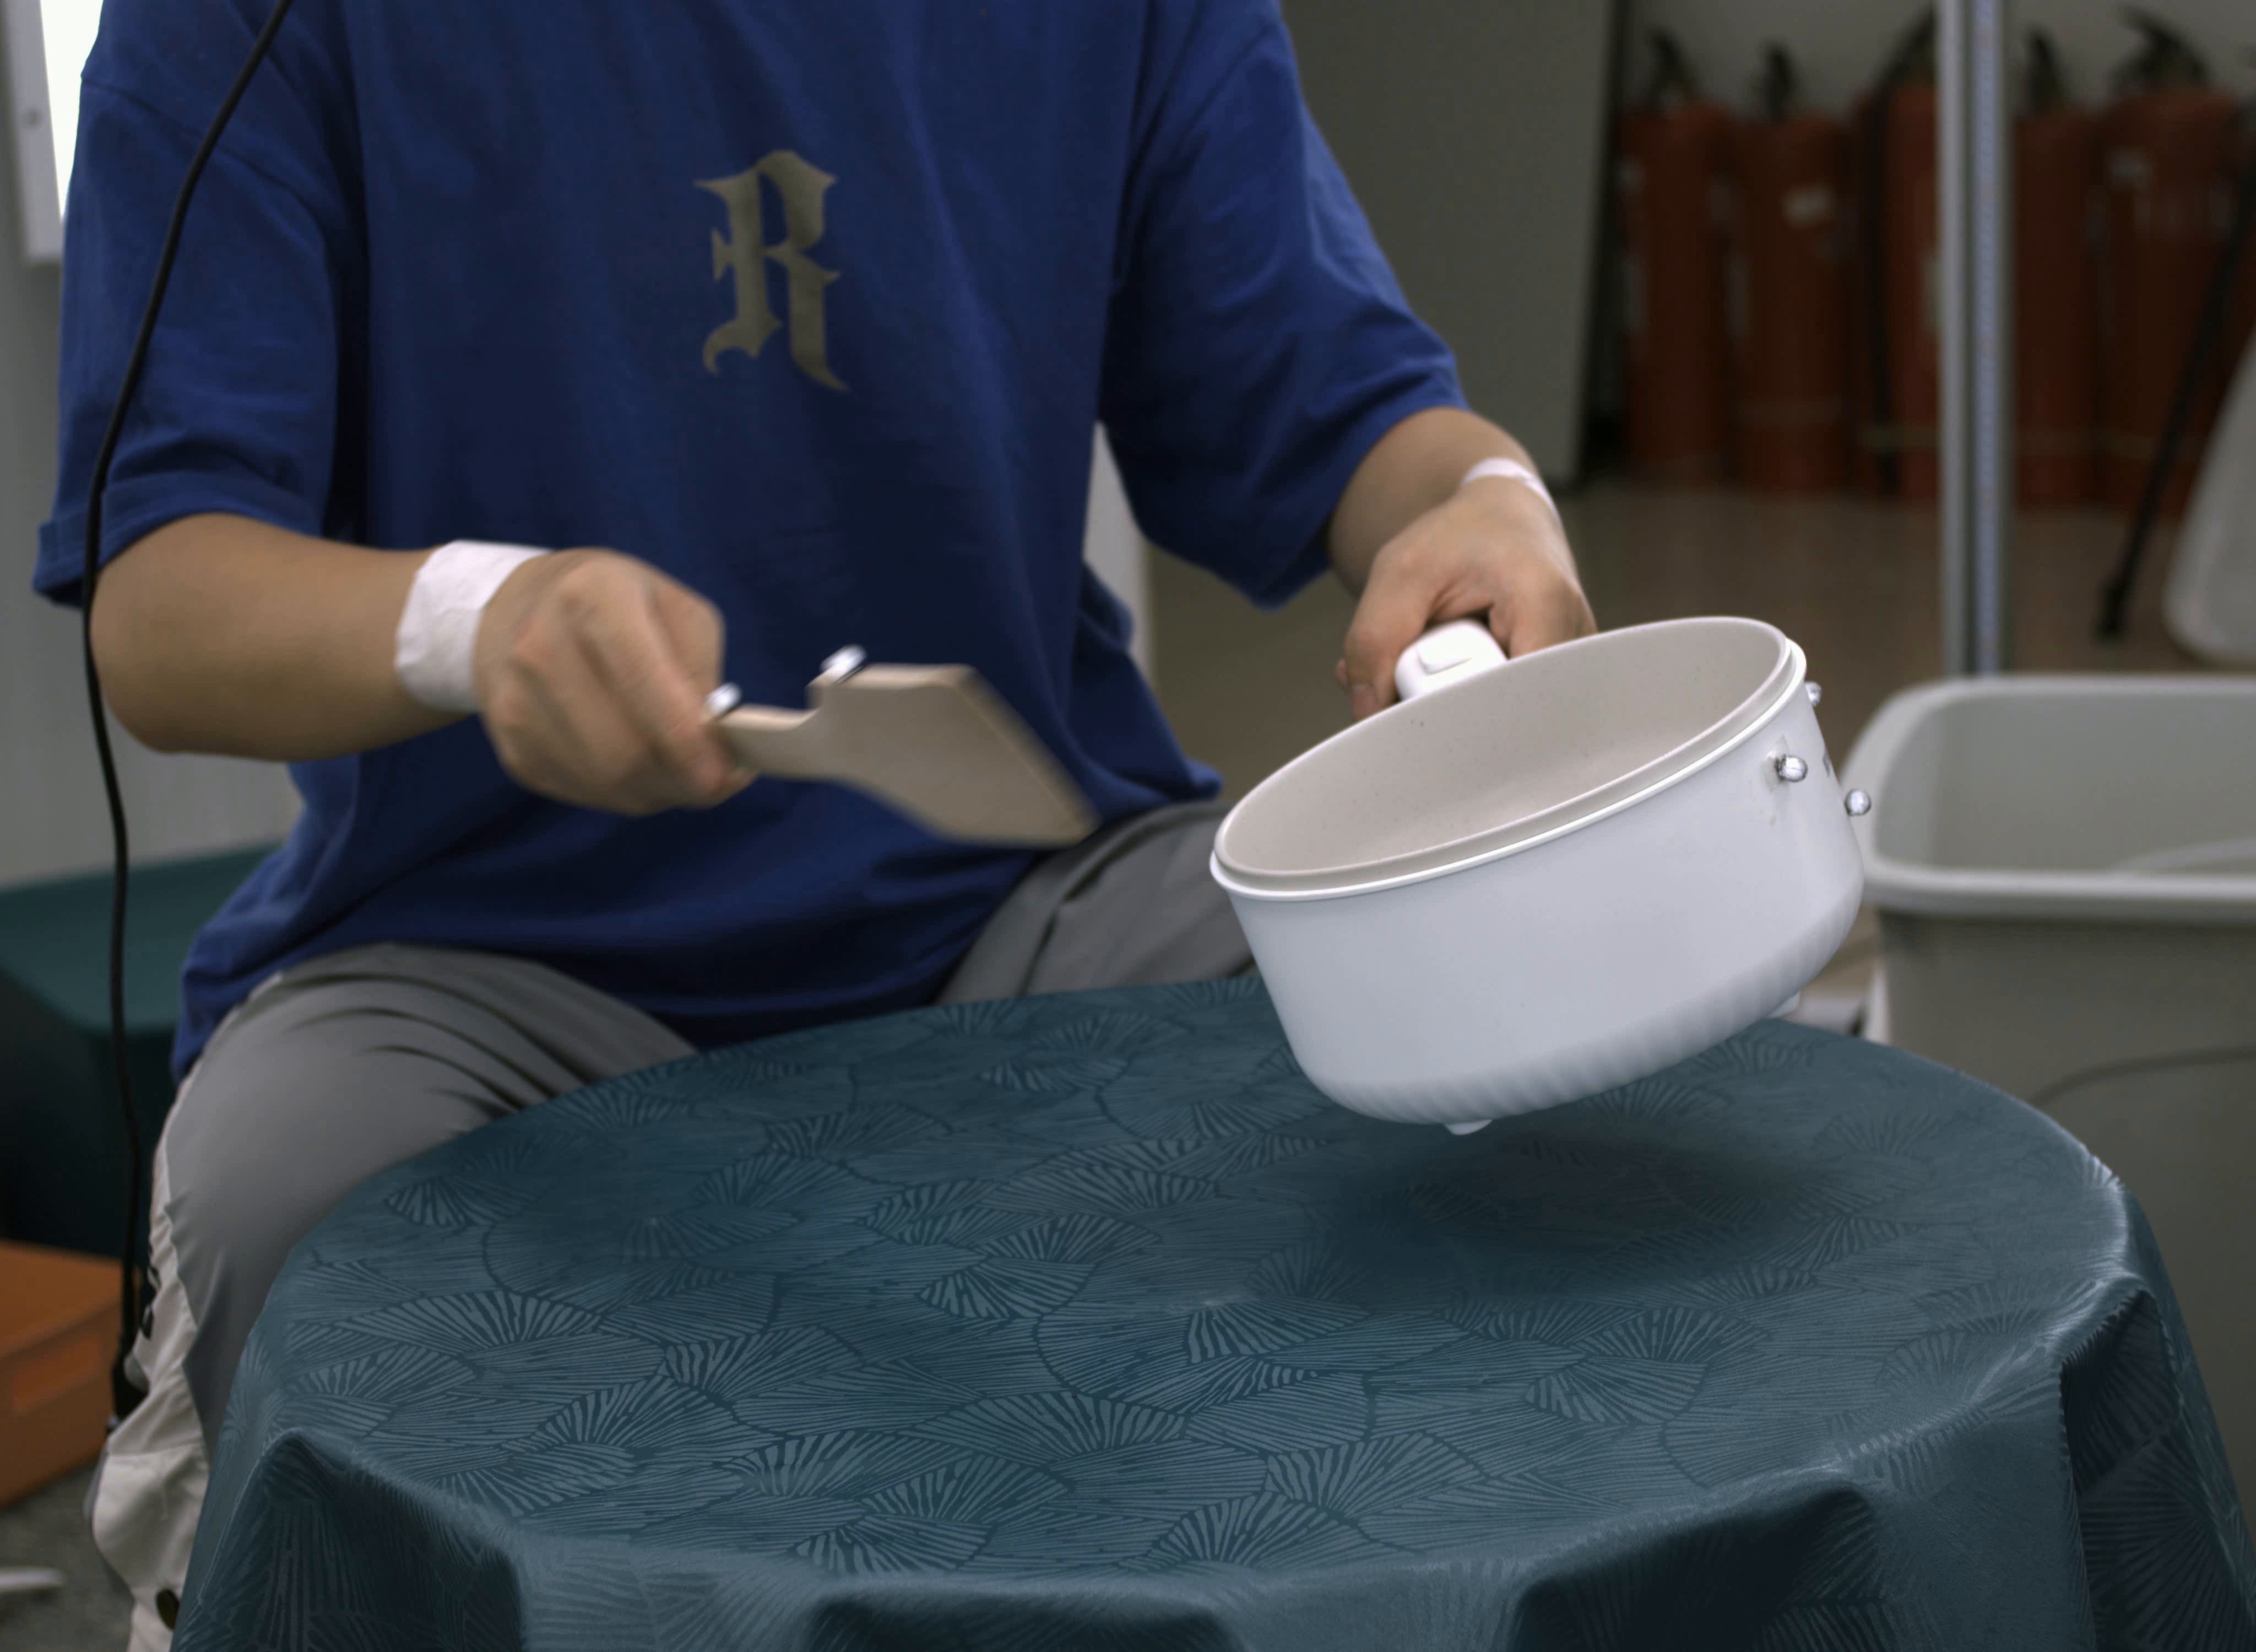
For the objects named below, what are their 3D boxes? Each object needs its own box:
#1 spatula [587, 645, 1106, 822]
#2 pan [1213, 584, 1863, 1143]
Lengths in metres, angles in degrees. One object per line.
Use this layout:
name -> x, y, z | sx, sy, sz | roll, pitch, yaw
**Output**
spatula -> -0.103, -0.032, 1.714 | 0.010, 0.072, 0.296 | -49, 24, -20
pan -> 0.130, 0.001, 1.792 | 0.199, 0.102, 0.356 | -24, 14, 2
